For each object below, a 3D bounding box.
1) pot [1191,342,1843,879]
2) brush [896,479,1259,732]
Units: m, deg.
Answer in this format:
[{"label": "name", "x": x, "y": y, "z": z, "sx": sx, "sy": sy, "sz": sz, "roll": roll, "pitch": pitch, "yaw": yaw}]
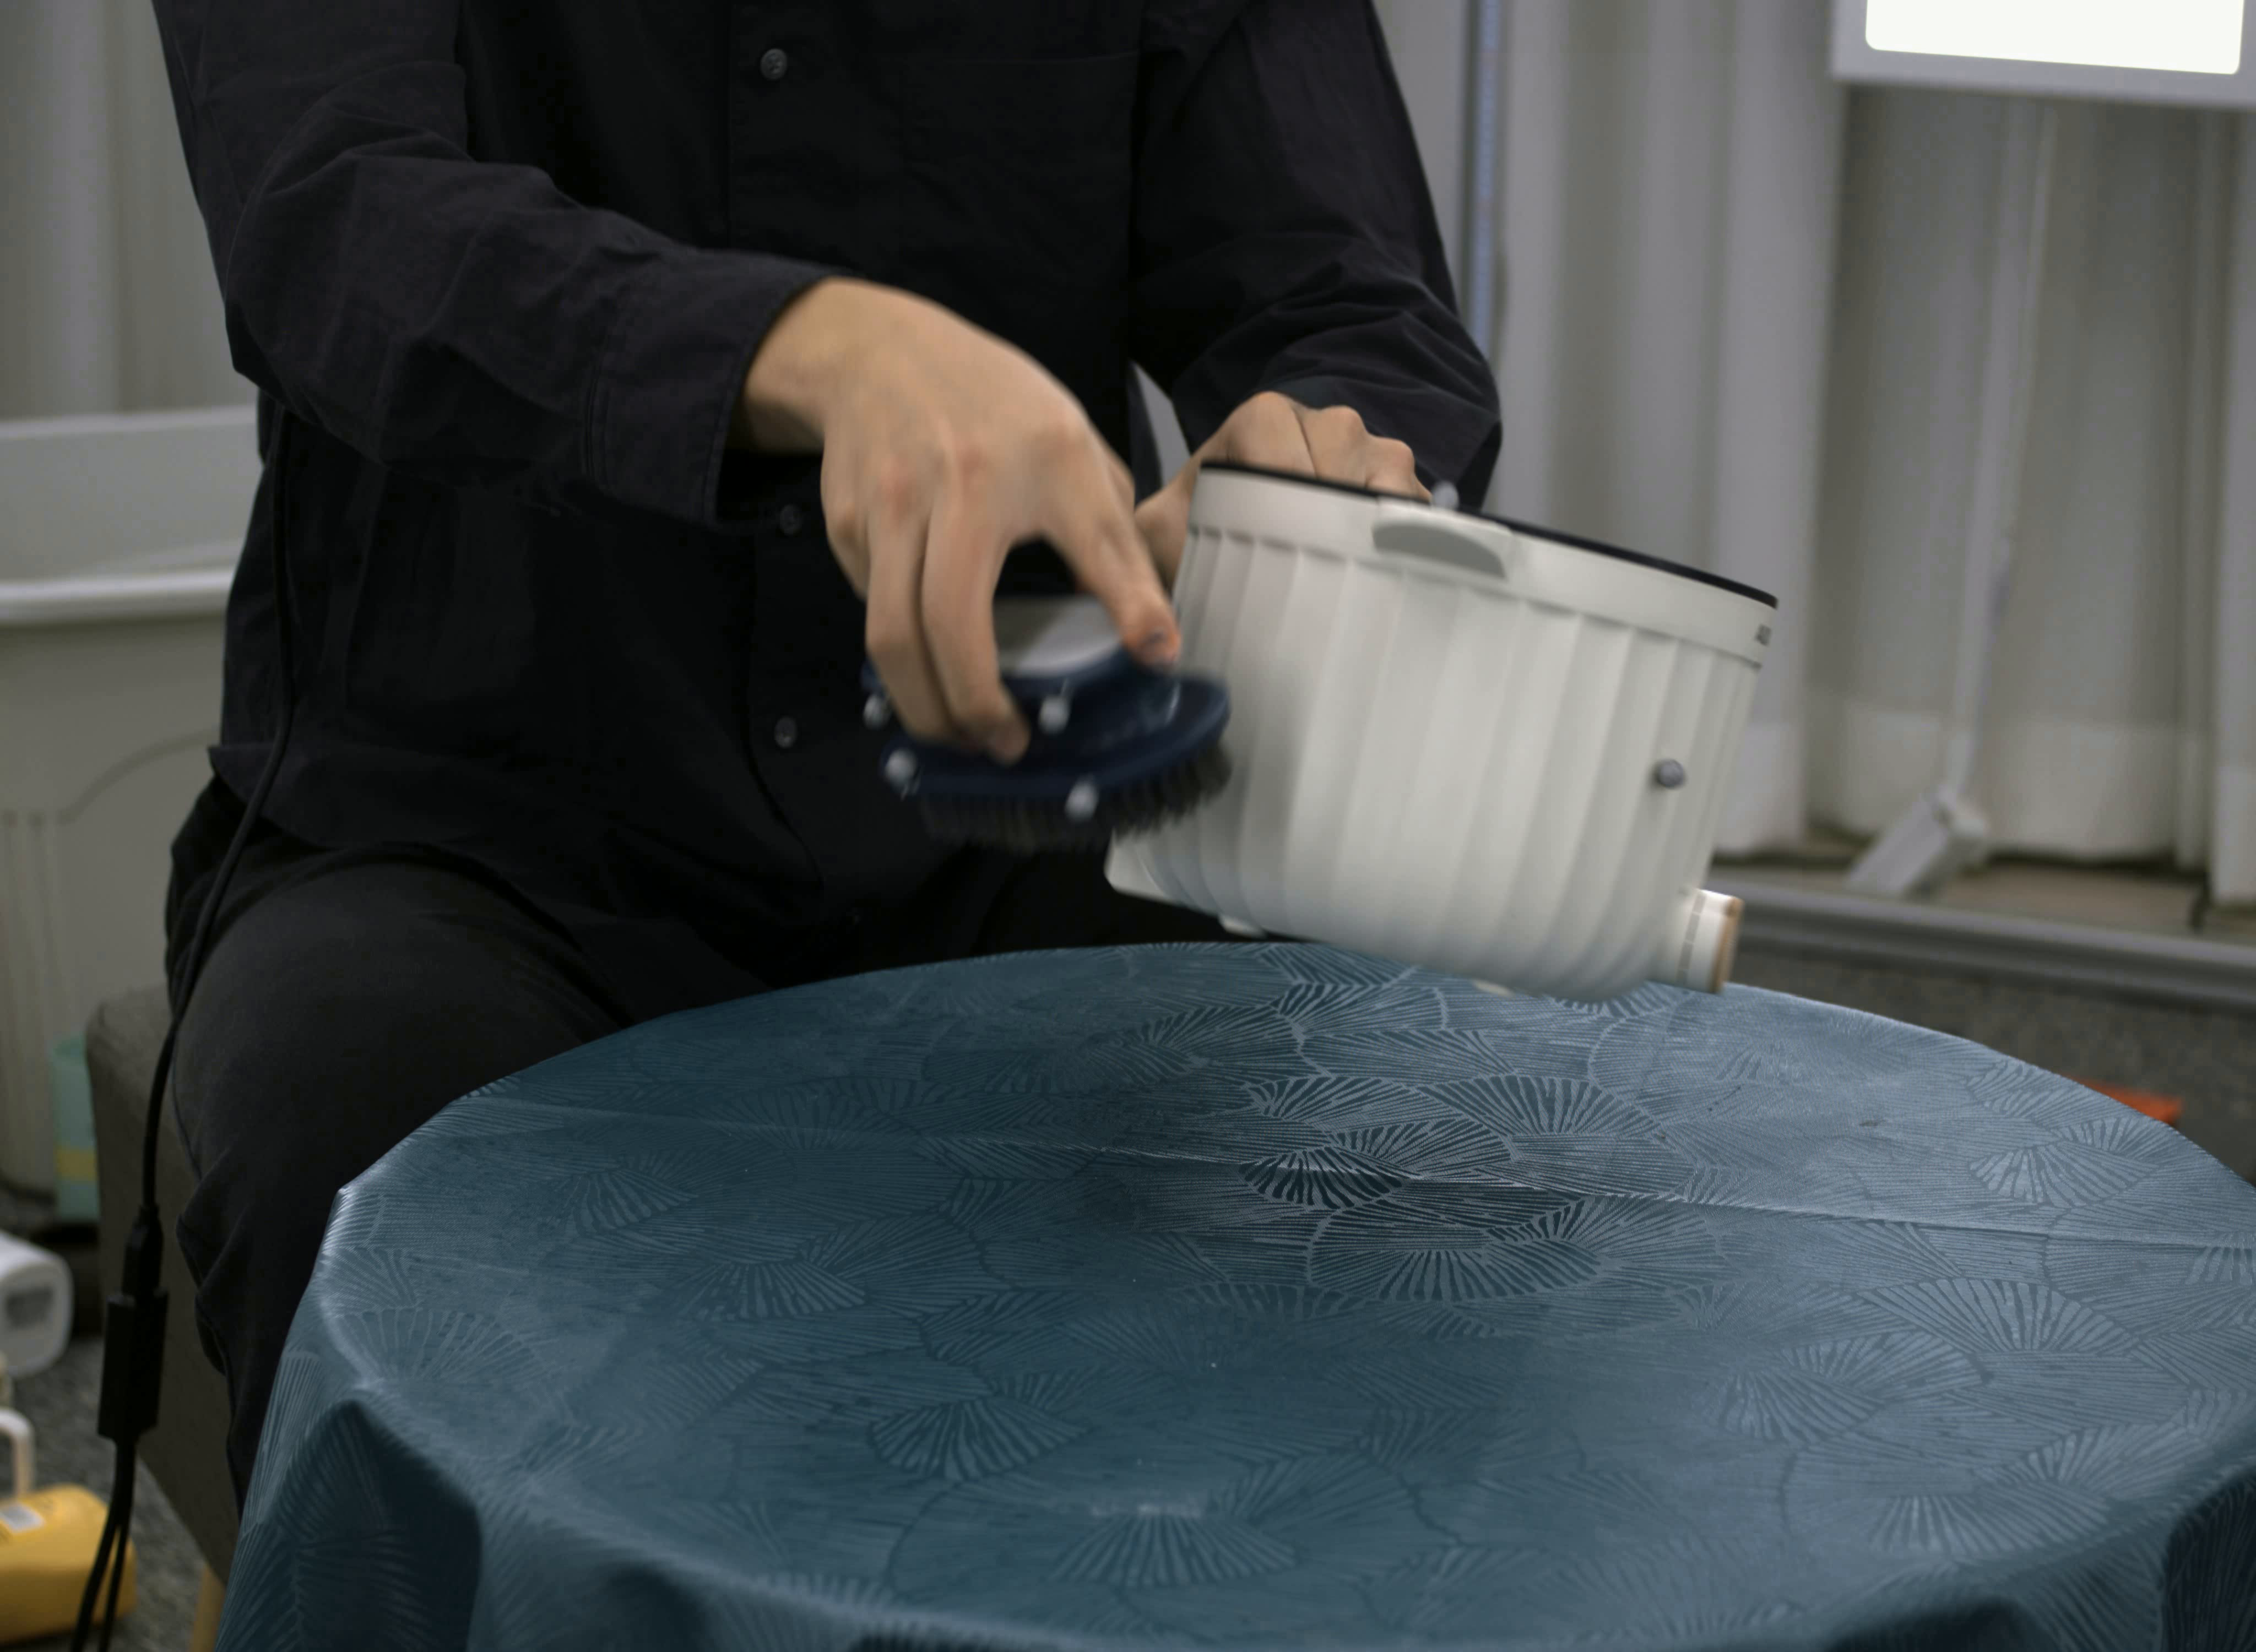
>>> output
[{"label": "pot", "x": 0.125, "y": -0.062, "z": 1.647, "sx": 0.189, "sy": 0.143, "sz": 0.241, "roll": 12, "pitch": 1, "yaw": 9}, {"label": "brush", "x": -0.014, "y": -0.063, "z": 1.547, "sx": 0.120, "sy": 0.062, "sz": 0.068, "roll": 8, "pitch": 38, "yaw": 46}]
